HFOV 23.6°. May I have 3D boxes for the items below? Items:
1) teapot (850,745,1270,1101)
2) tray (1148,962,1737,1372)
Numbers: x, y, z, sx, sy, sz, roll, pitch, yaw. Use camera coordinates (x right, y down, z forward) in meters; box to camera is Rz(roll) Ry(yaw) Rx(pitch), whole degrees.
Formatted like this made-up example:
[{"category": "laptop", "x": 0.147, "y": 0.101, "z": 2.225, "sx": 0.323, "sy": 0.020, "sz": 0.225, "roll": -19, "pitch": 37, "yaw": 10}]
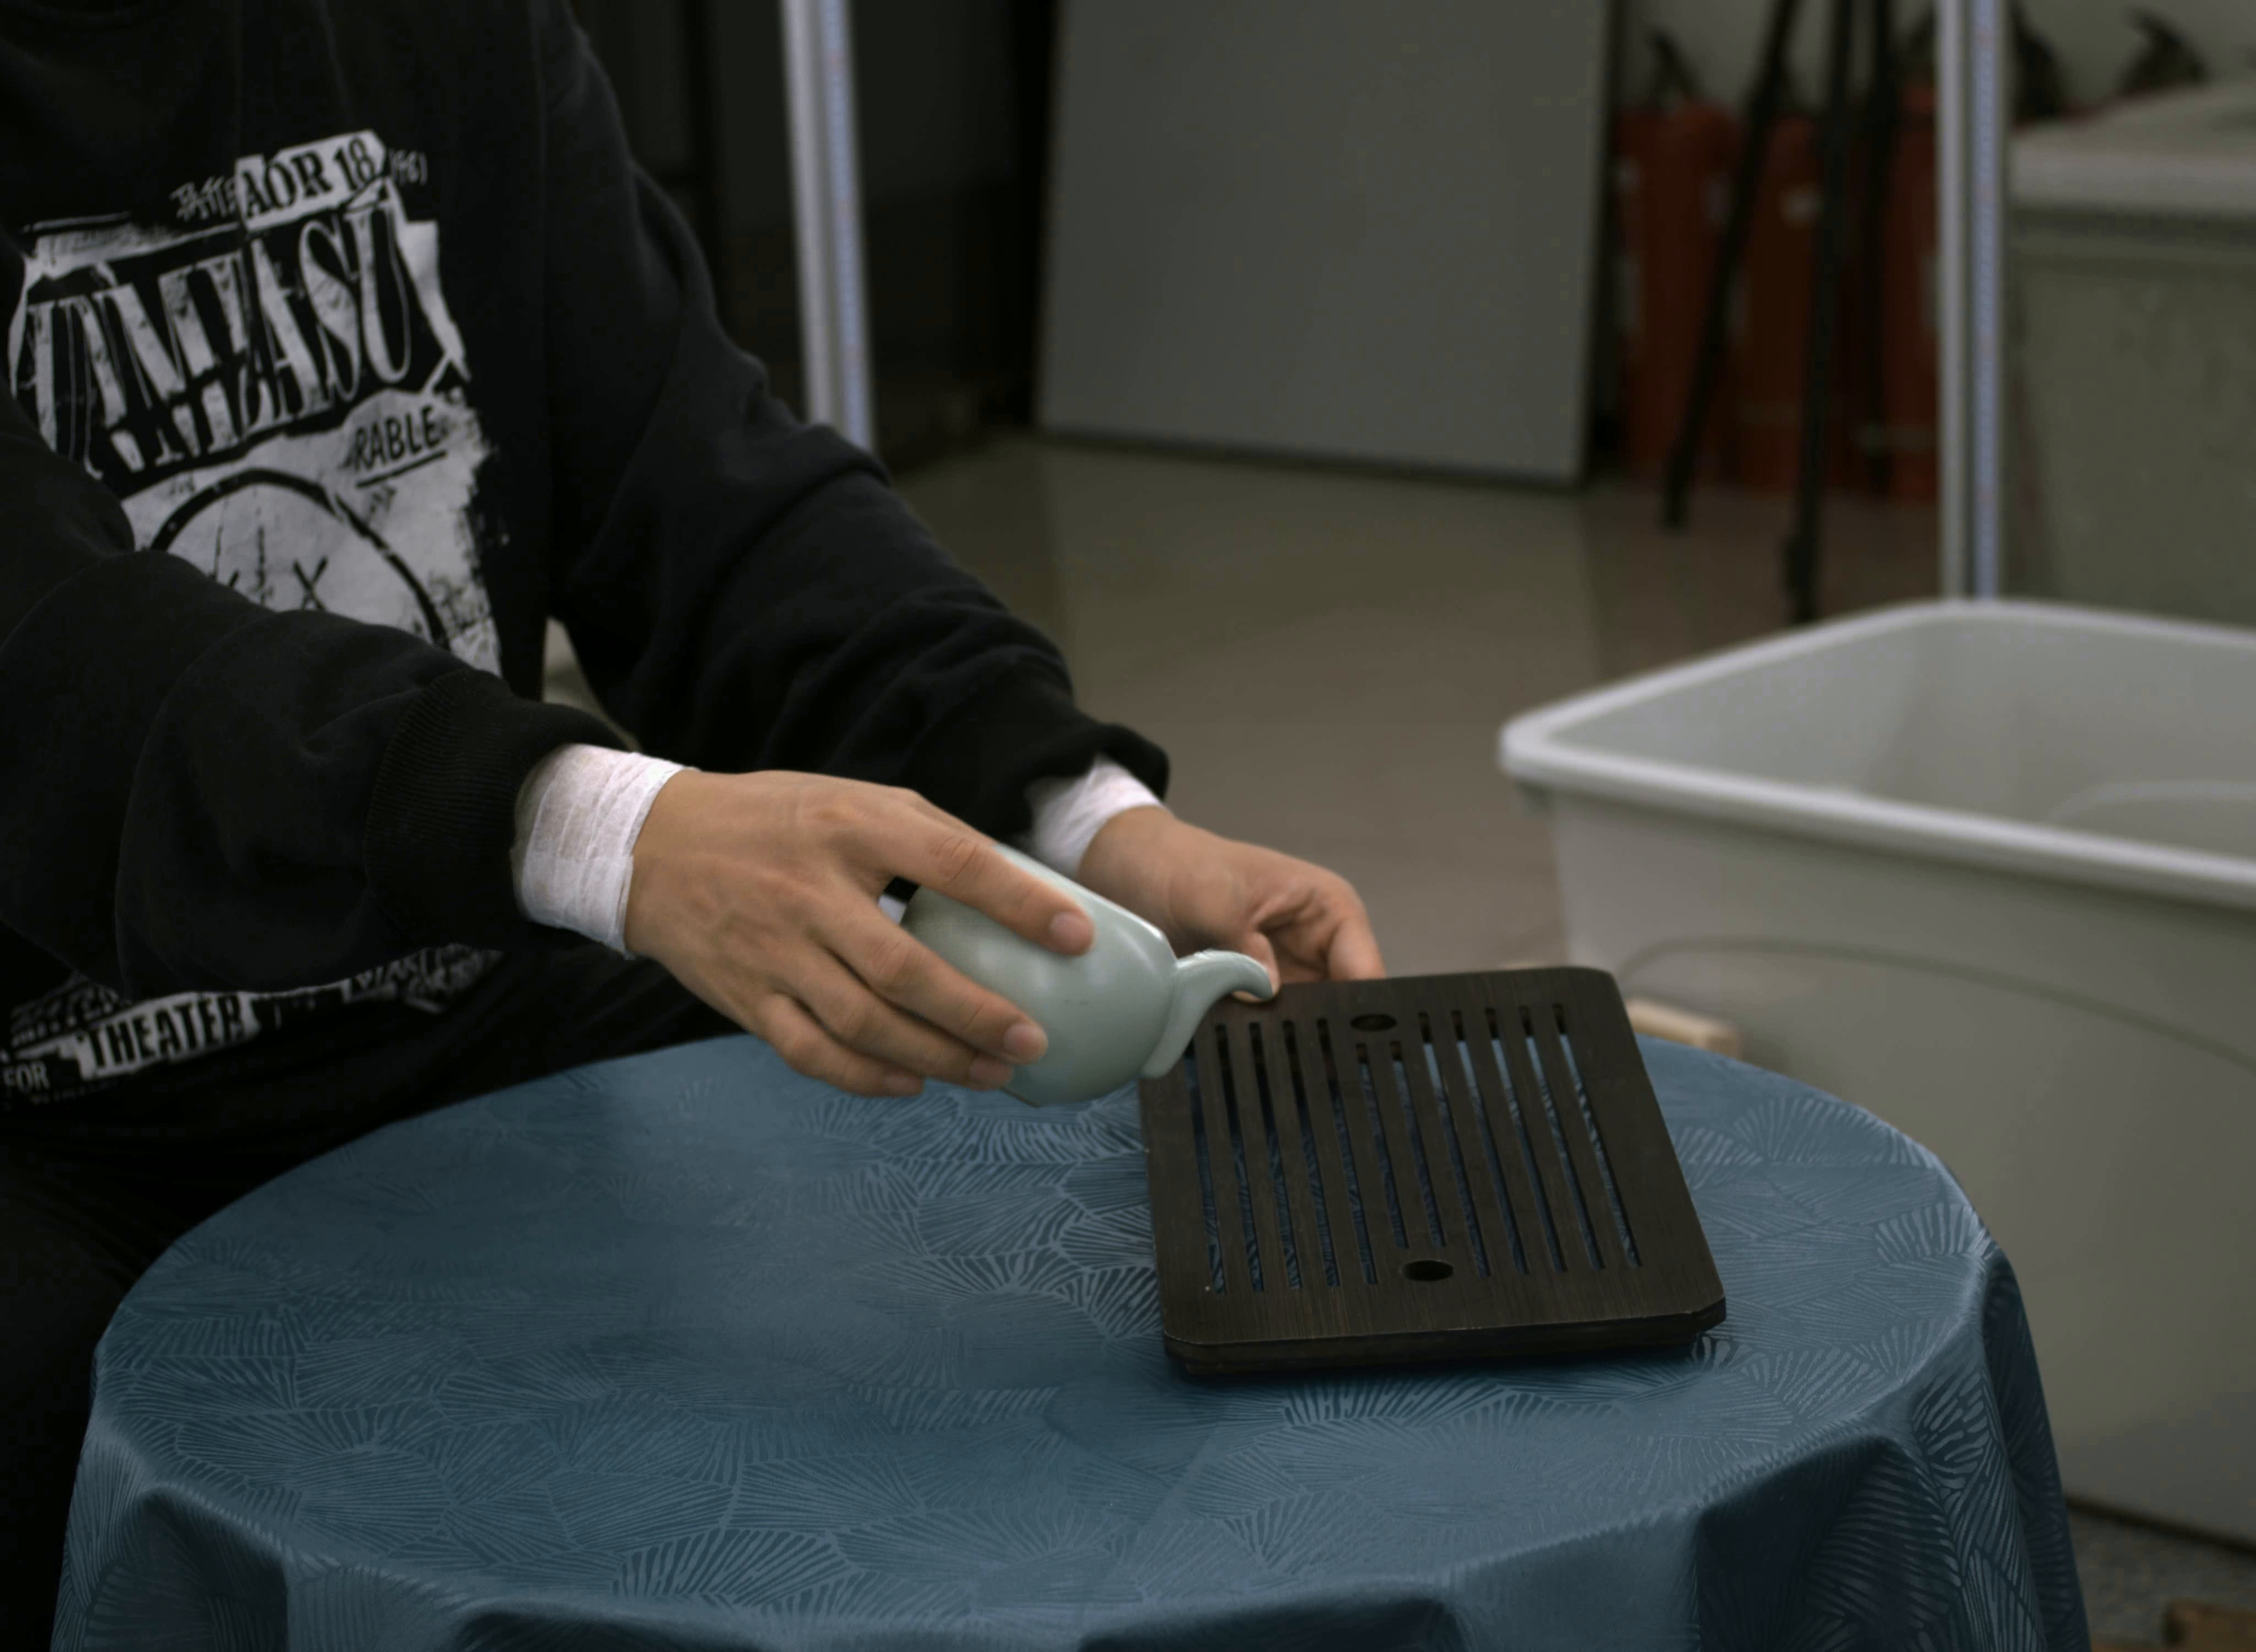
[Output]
[{"category": "teapot", "x": -0.029, "y": 0.041, "z": 1.639, "sx": 0.142, "sy": 0.075, "sz": 0.089, "roll": 33, "pitch": -2, "yaw": -16}, {"category": "tray", "x": 0.093, "y": 0.106, "z": 1.726, "sx": 0.168, "sy": 0.019, "sz": 0.306, "roll": -5, "pitch": 18, "yaw": 0}]
